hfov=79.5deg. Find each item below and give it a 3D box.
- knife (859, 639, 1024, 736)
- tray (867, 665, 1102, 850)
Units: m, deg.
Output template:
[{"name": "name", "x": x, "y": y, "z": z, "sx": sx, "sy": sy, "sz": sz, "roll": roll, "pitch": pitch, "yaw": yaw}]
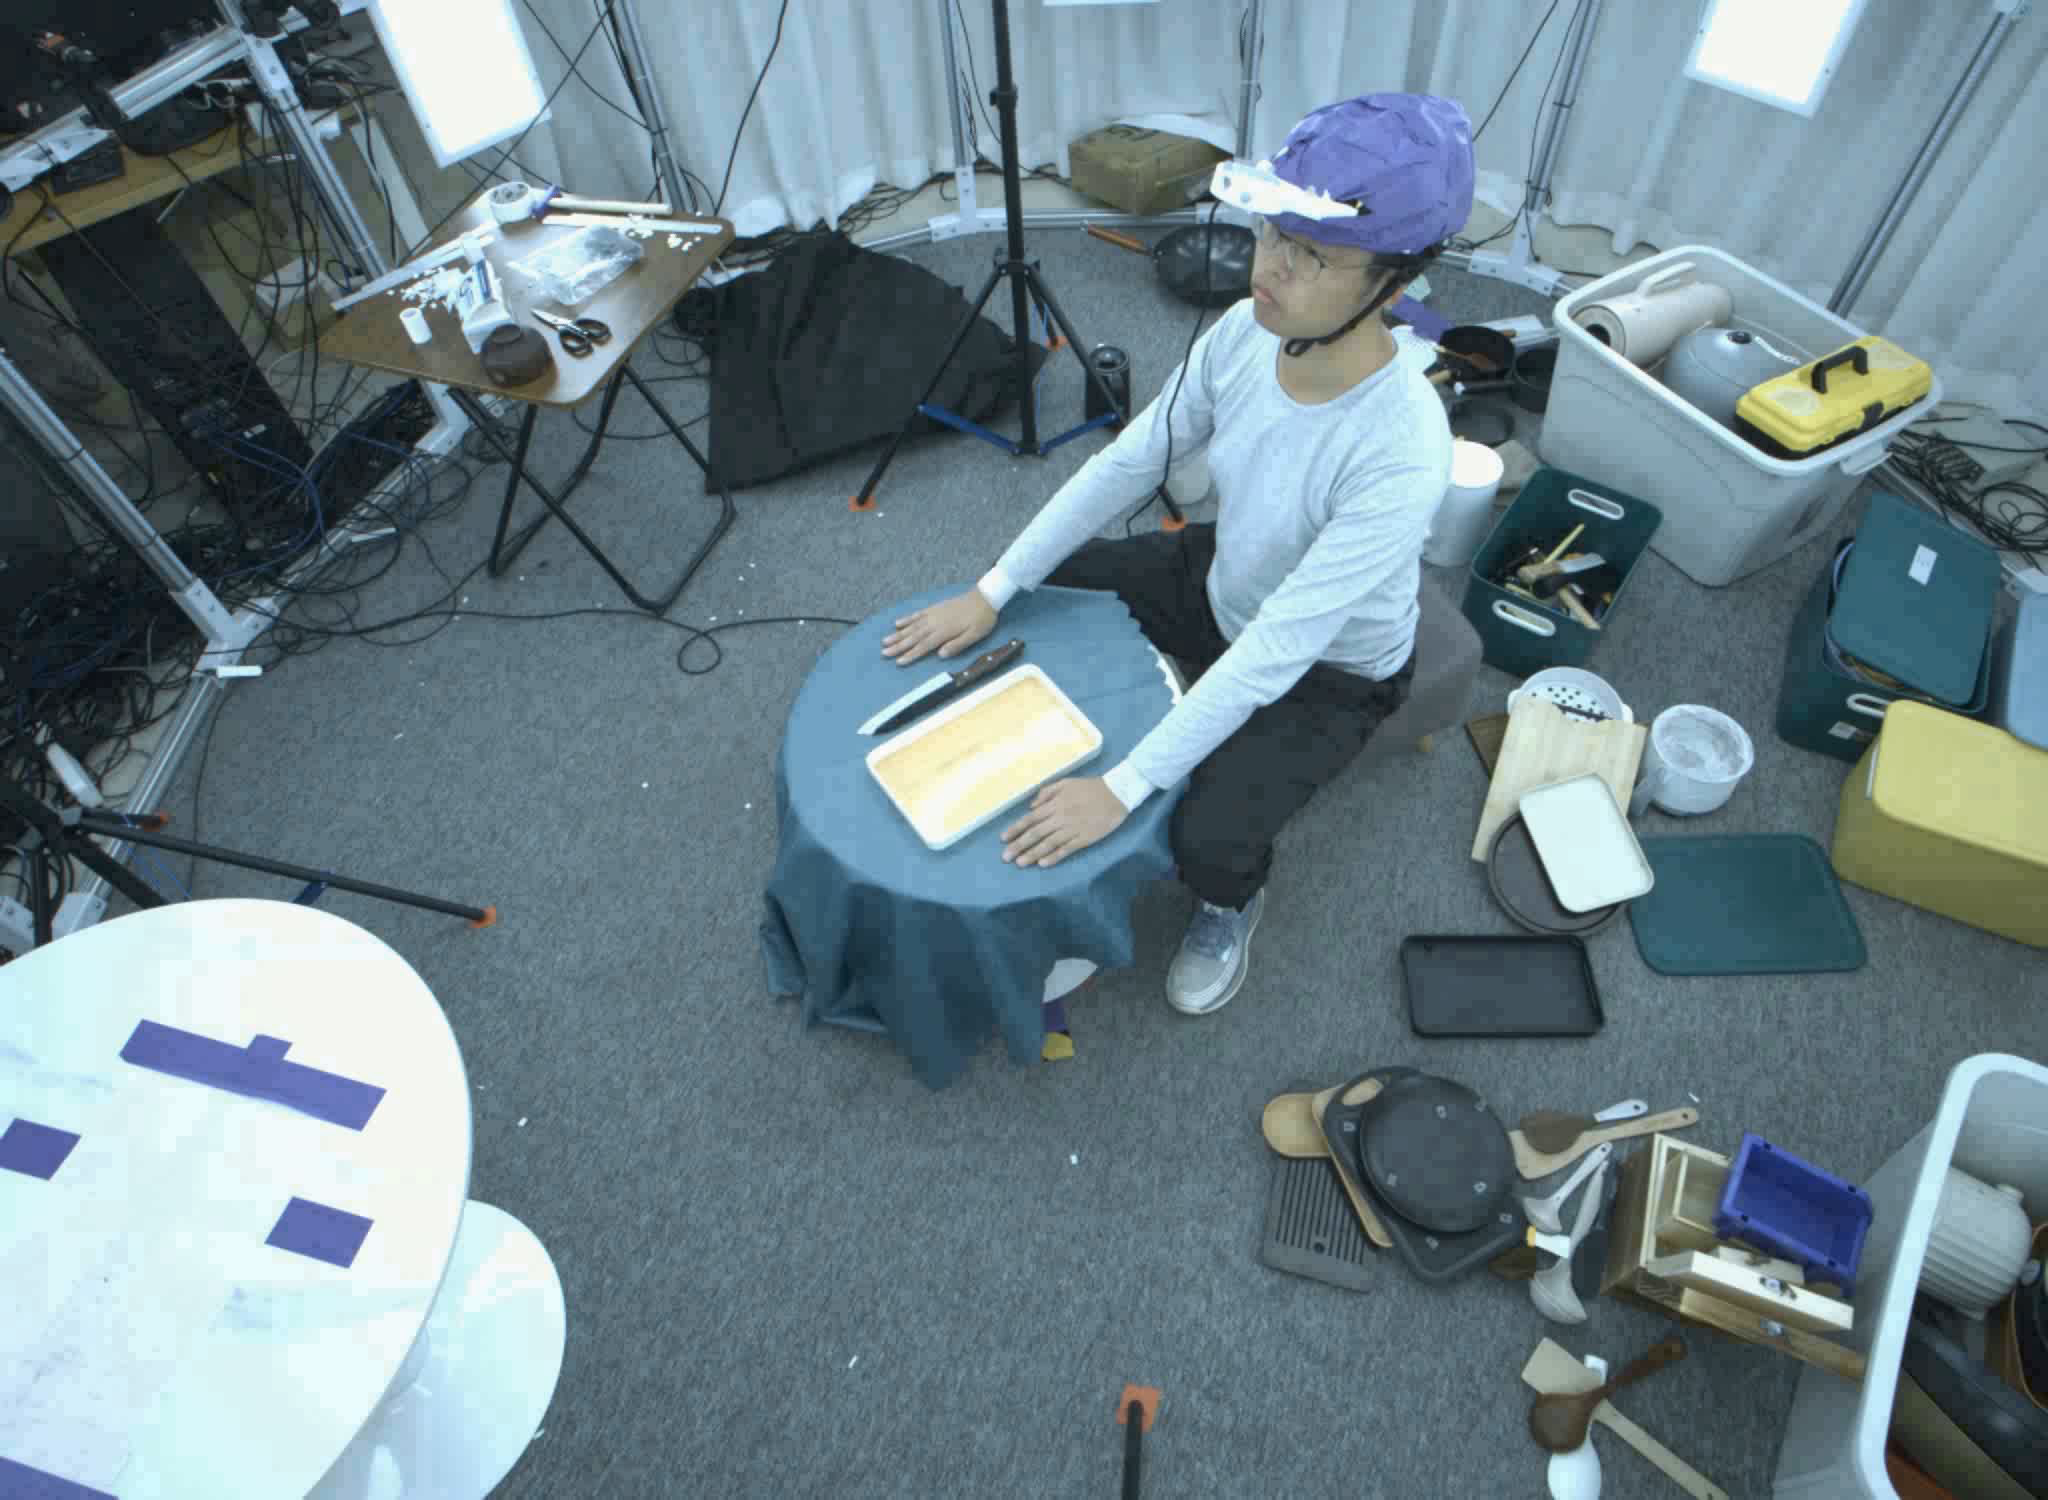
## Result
[{"name": "knife", "x": -0.124, "y": -0.094, "z": 1.857, "sx": 0.291, "sy": 0.020, "sz": 0.049, "roll": -30, "pitch": 54, "yaw": -16}, {"name": "tray", "x": -0.056, "y": 0.005, "z": 1.776, "sx": 0.303, "sy": 0.028, "sz": 0.188, "roll": -30, "pitch": 59, "yaw": -19}]
